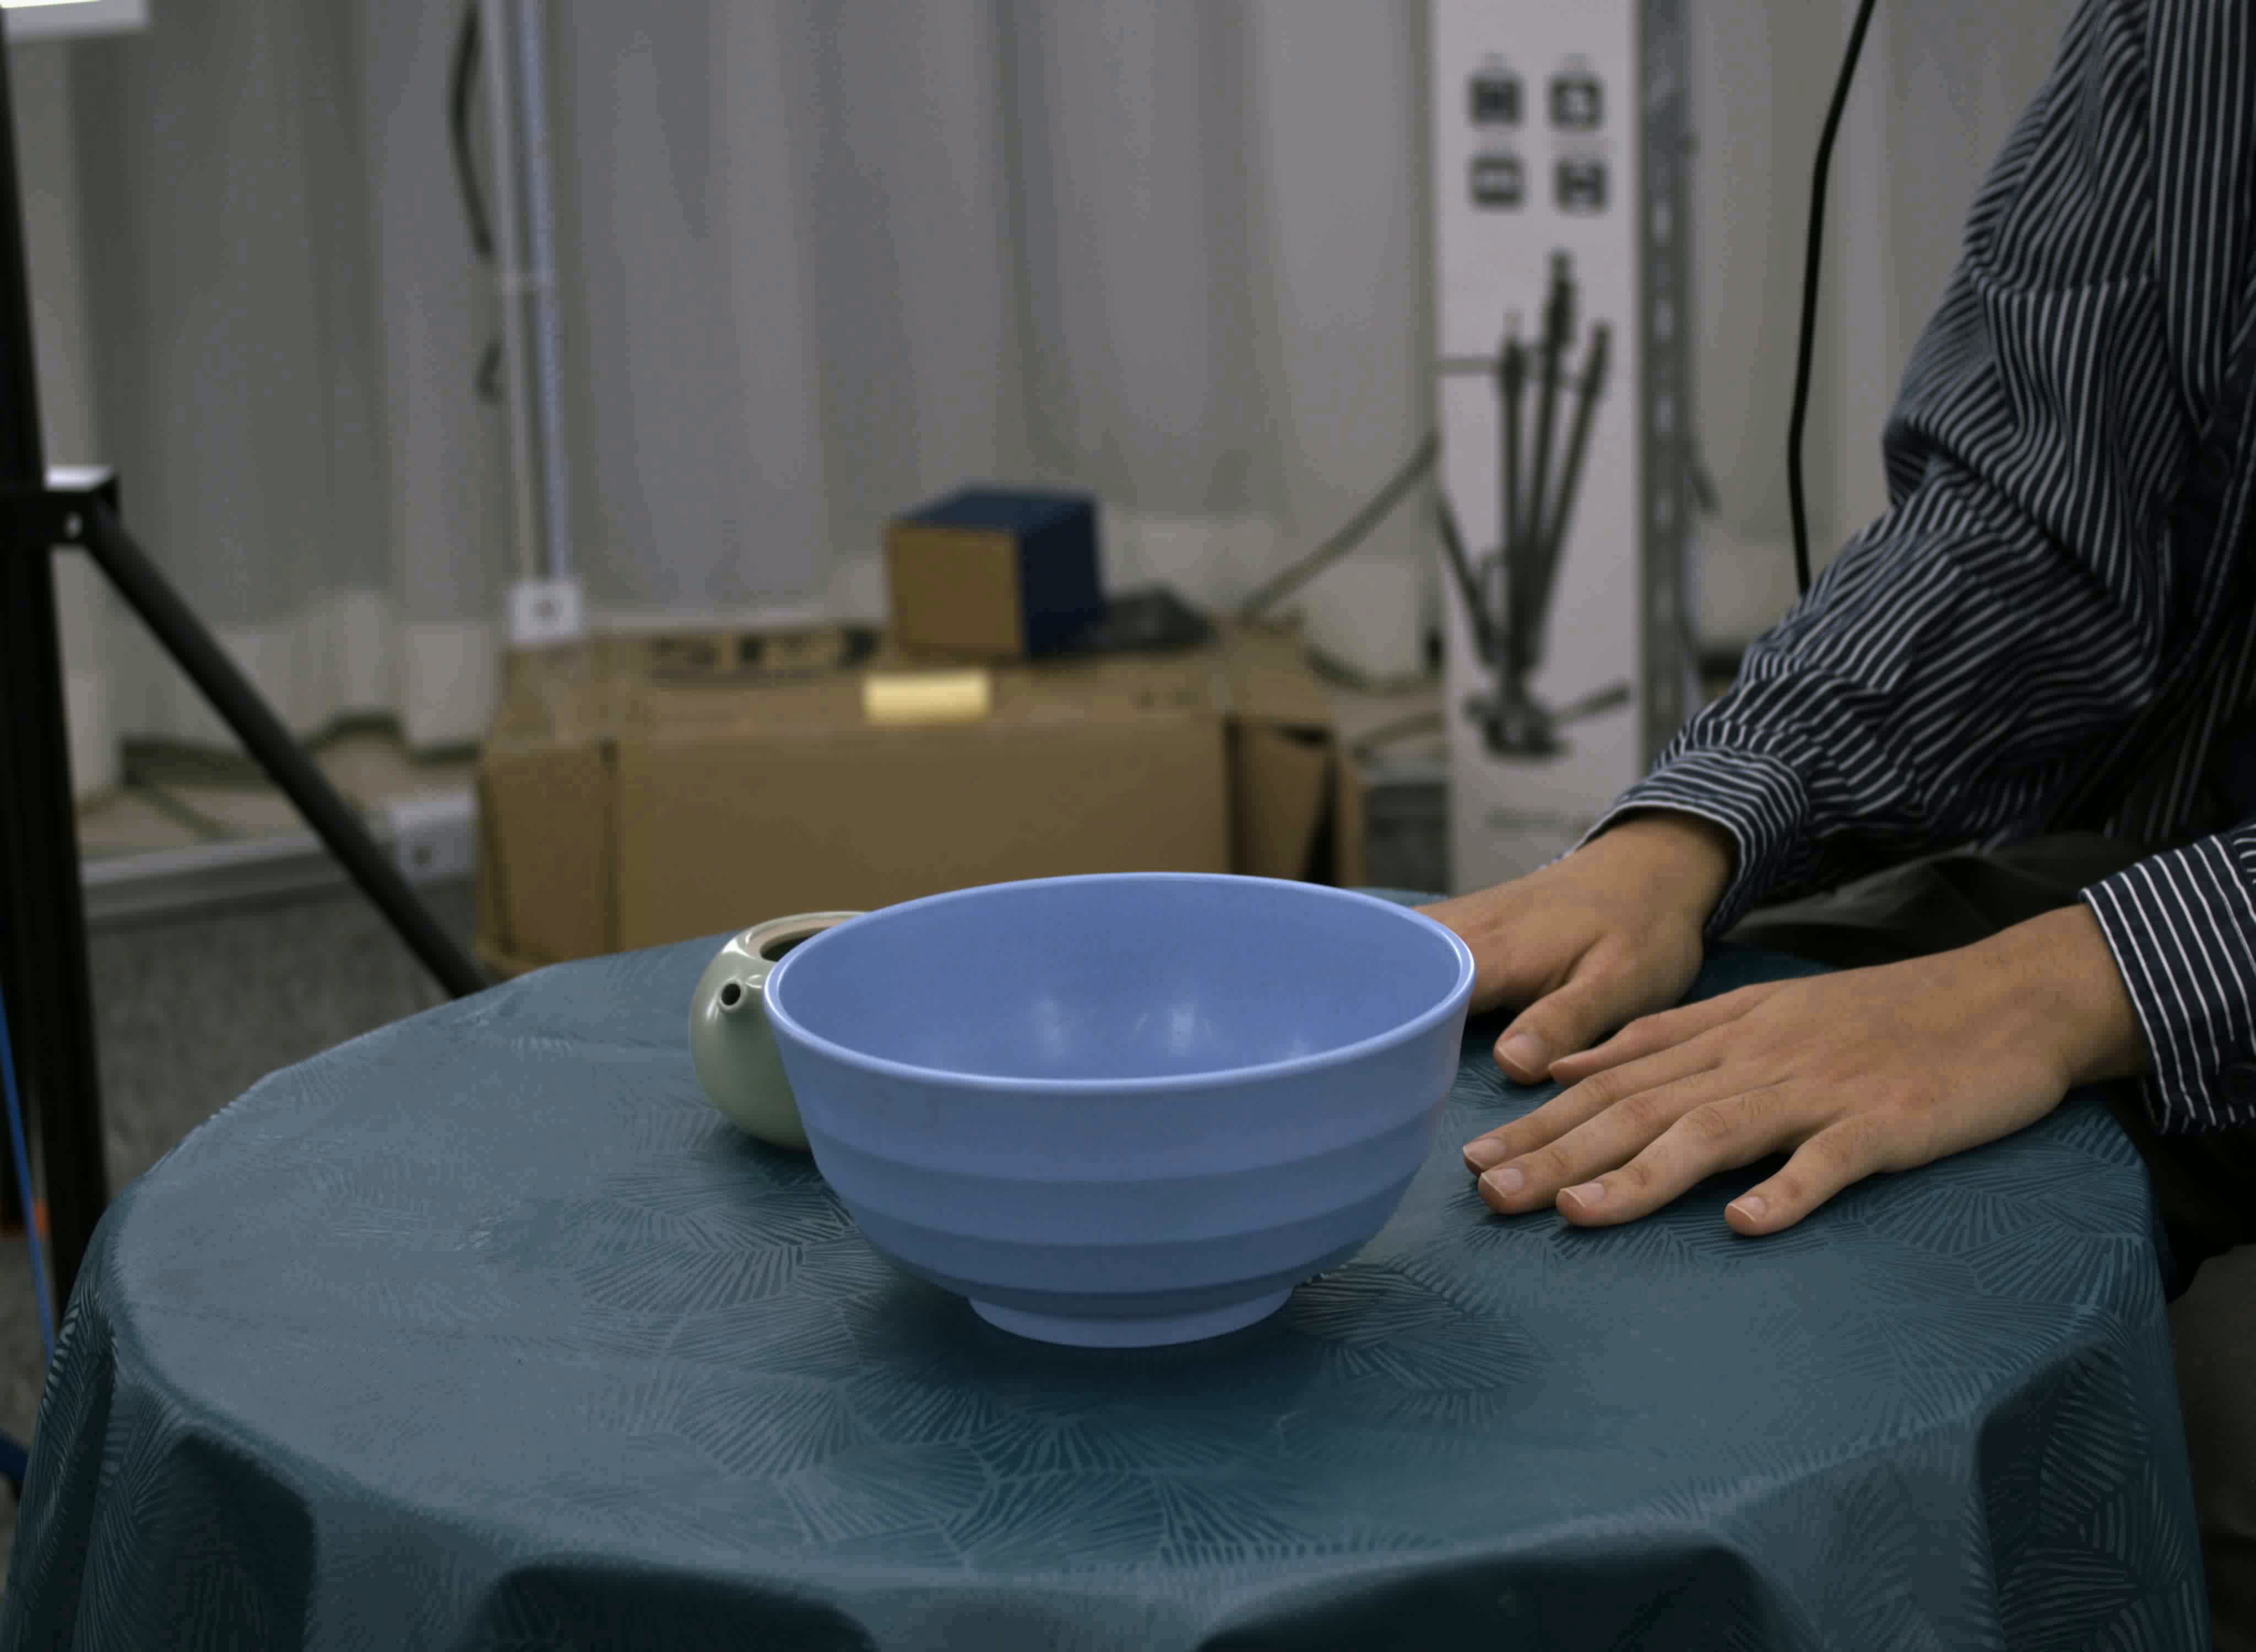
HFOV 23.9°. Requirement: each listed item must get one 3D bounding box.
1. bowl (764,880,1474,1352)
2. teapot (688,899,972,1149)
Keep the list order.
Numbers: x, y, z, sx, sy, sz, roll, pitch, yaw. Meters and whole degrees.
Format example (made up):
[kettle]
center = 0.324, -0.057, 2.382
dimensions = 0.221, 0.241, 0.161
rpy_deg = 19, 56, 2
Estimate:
[bowl]
center = -0.001, 0.086, 1.473
dimensions = 0.195, 0.095, 0.197
rpy_deg = -3, 15, -1
[teapot]
center = -0.083, 0.060, 1.635
dimensions = 0.093, 0.061, 0.125
rpy_deg = 8, 18, 40
